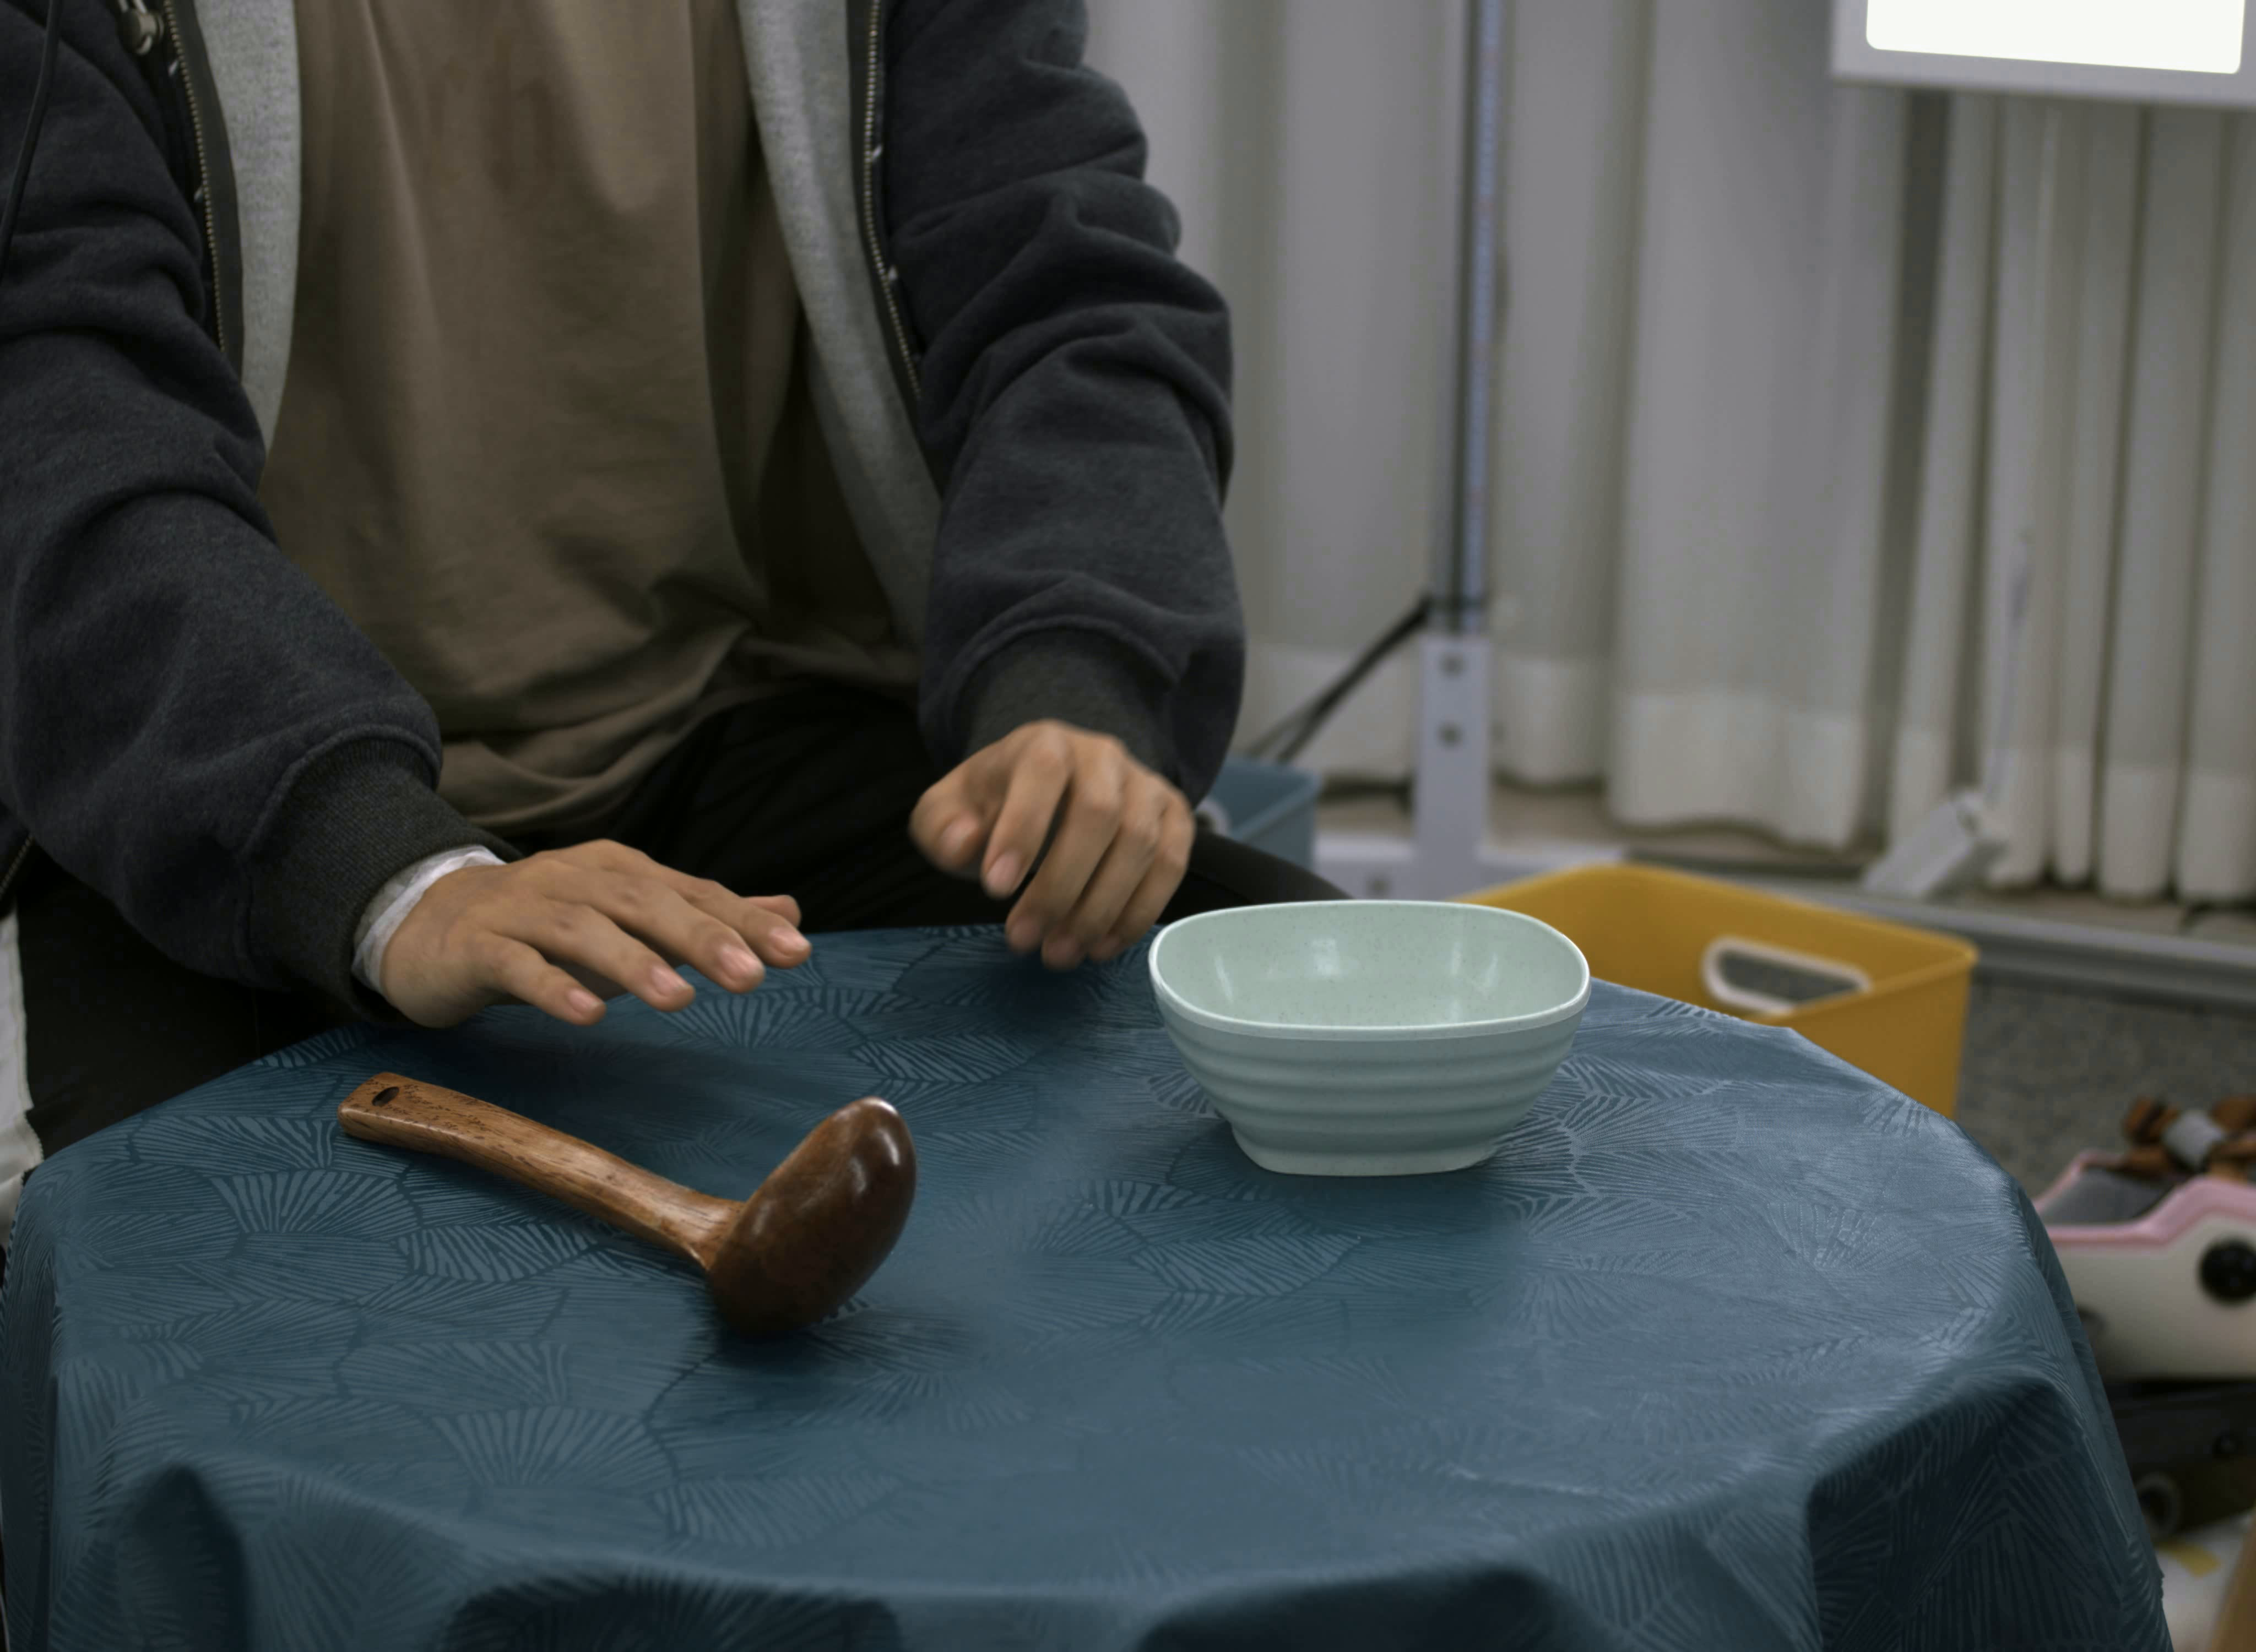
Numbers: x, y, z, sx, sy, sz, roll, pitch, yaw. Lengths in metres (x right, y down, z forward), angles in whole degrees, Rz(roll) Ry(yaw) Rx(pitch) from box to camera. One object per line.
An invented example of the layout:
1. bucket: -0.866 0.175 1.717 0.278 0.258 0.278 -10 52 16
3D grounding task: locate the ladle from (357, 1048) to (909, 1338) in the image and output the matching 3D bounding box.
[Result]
1. ladle: -0.163 0.088 1.562 0.082 0.077 0.270 -41 38 -26

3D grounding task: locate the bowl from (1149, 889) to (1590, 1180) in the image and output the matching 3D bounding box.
1. bowl: 0.076 0.070 1.671 0.151 0.059 0.150 1 18 0
